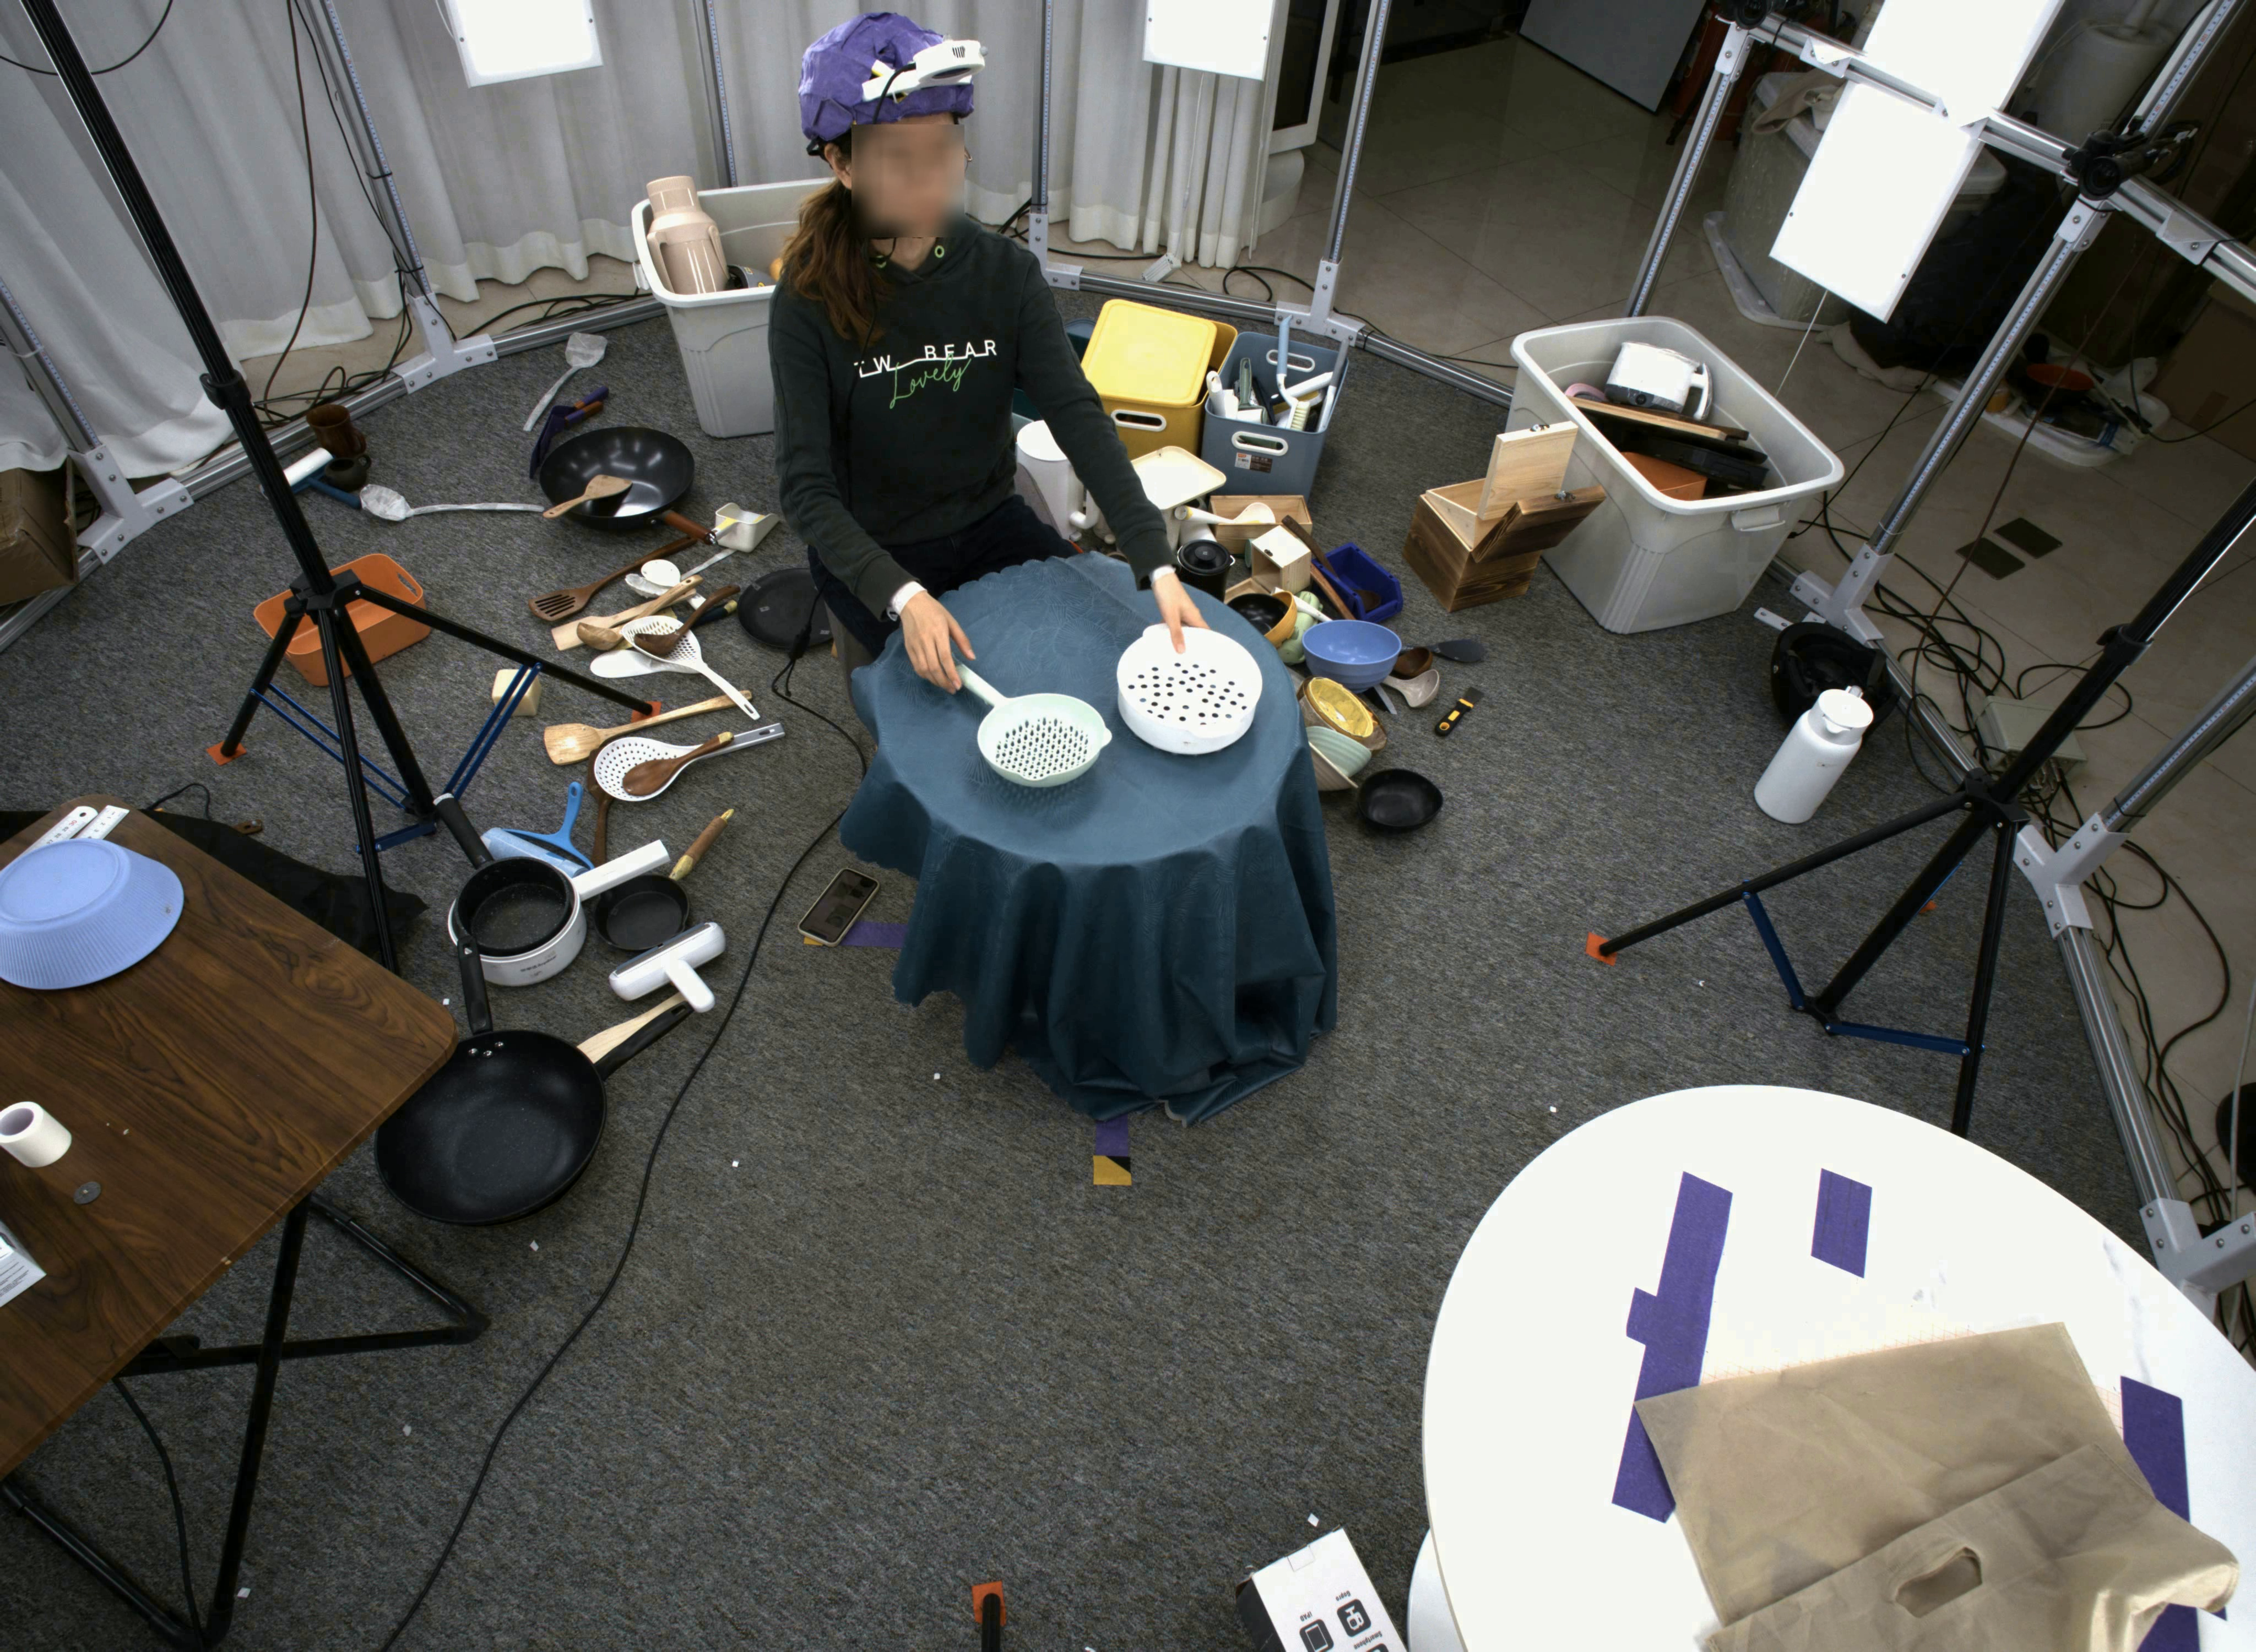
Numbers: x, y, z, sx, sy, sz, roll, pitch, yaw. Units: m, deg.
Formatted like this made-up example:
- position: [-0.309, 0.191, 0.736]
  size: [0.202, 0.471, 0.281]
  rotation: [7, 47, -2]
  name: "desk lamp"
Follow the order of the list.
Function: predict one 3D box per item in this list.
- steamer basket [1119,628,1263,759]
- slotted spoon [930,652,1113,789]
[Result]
- position: [0.086, -0.182, 1.807]
  size: [0.202, 0.067, 0.236]
  rotation: [-12, 51, -16]
  name: "steamer basket"
- position: [-0.174, -0.164, 1.775]
  size: [0.170, 0.073, 0.365]
  rotation: [-29, 56, -27]
  name: "slotted spoon"
